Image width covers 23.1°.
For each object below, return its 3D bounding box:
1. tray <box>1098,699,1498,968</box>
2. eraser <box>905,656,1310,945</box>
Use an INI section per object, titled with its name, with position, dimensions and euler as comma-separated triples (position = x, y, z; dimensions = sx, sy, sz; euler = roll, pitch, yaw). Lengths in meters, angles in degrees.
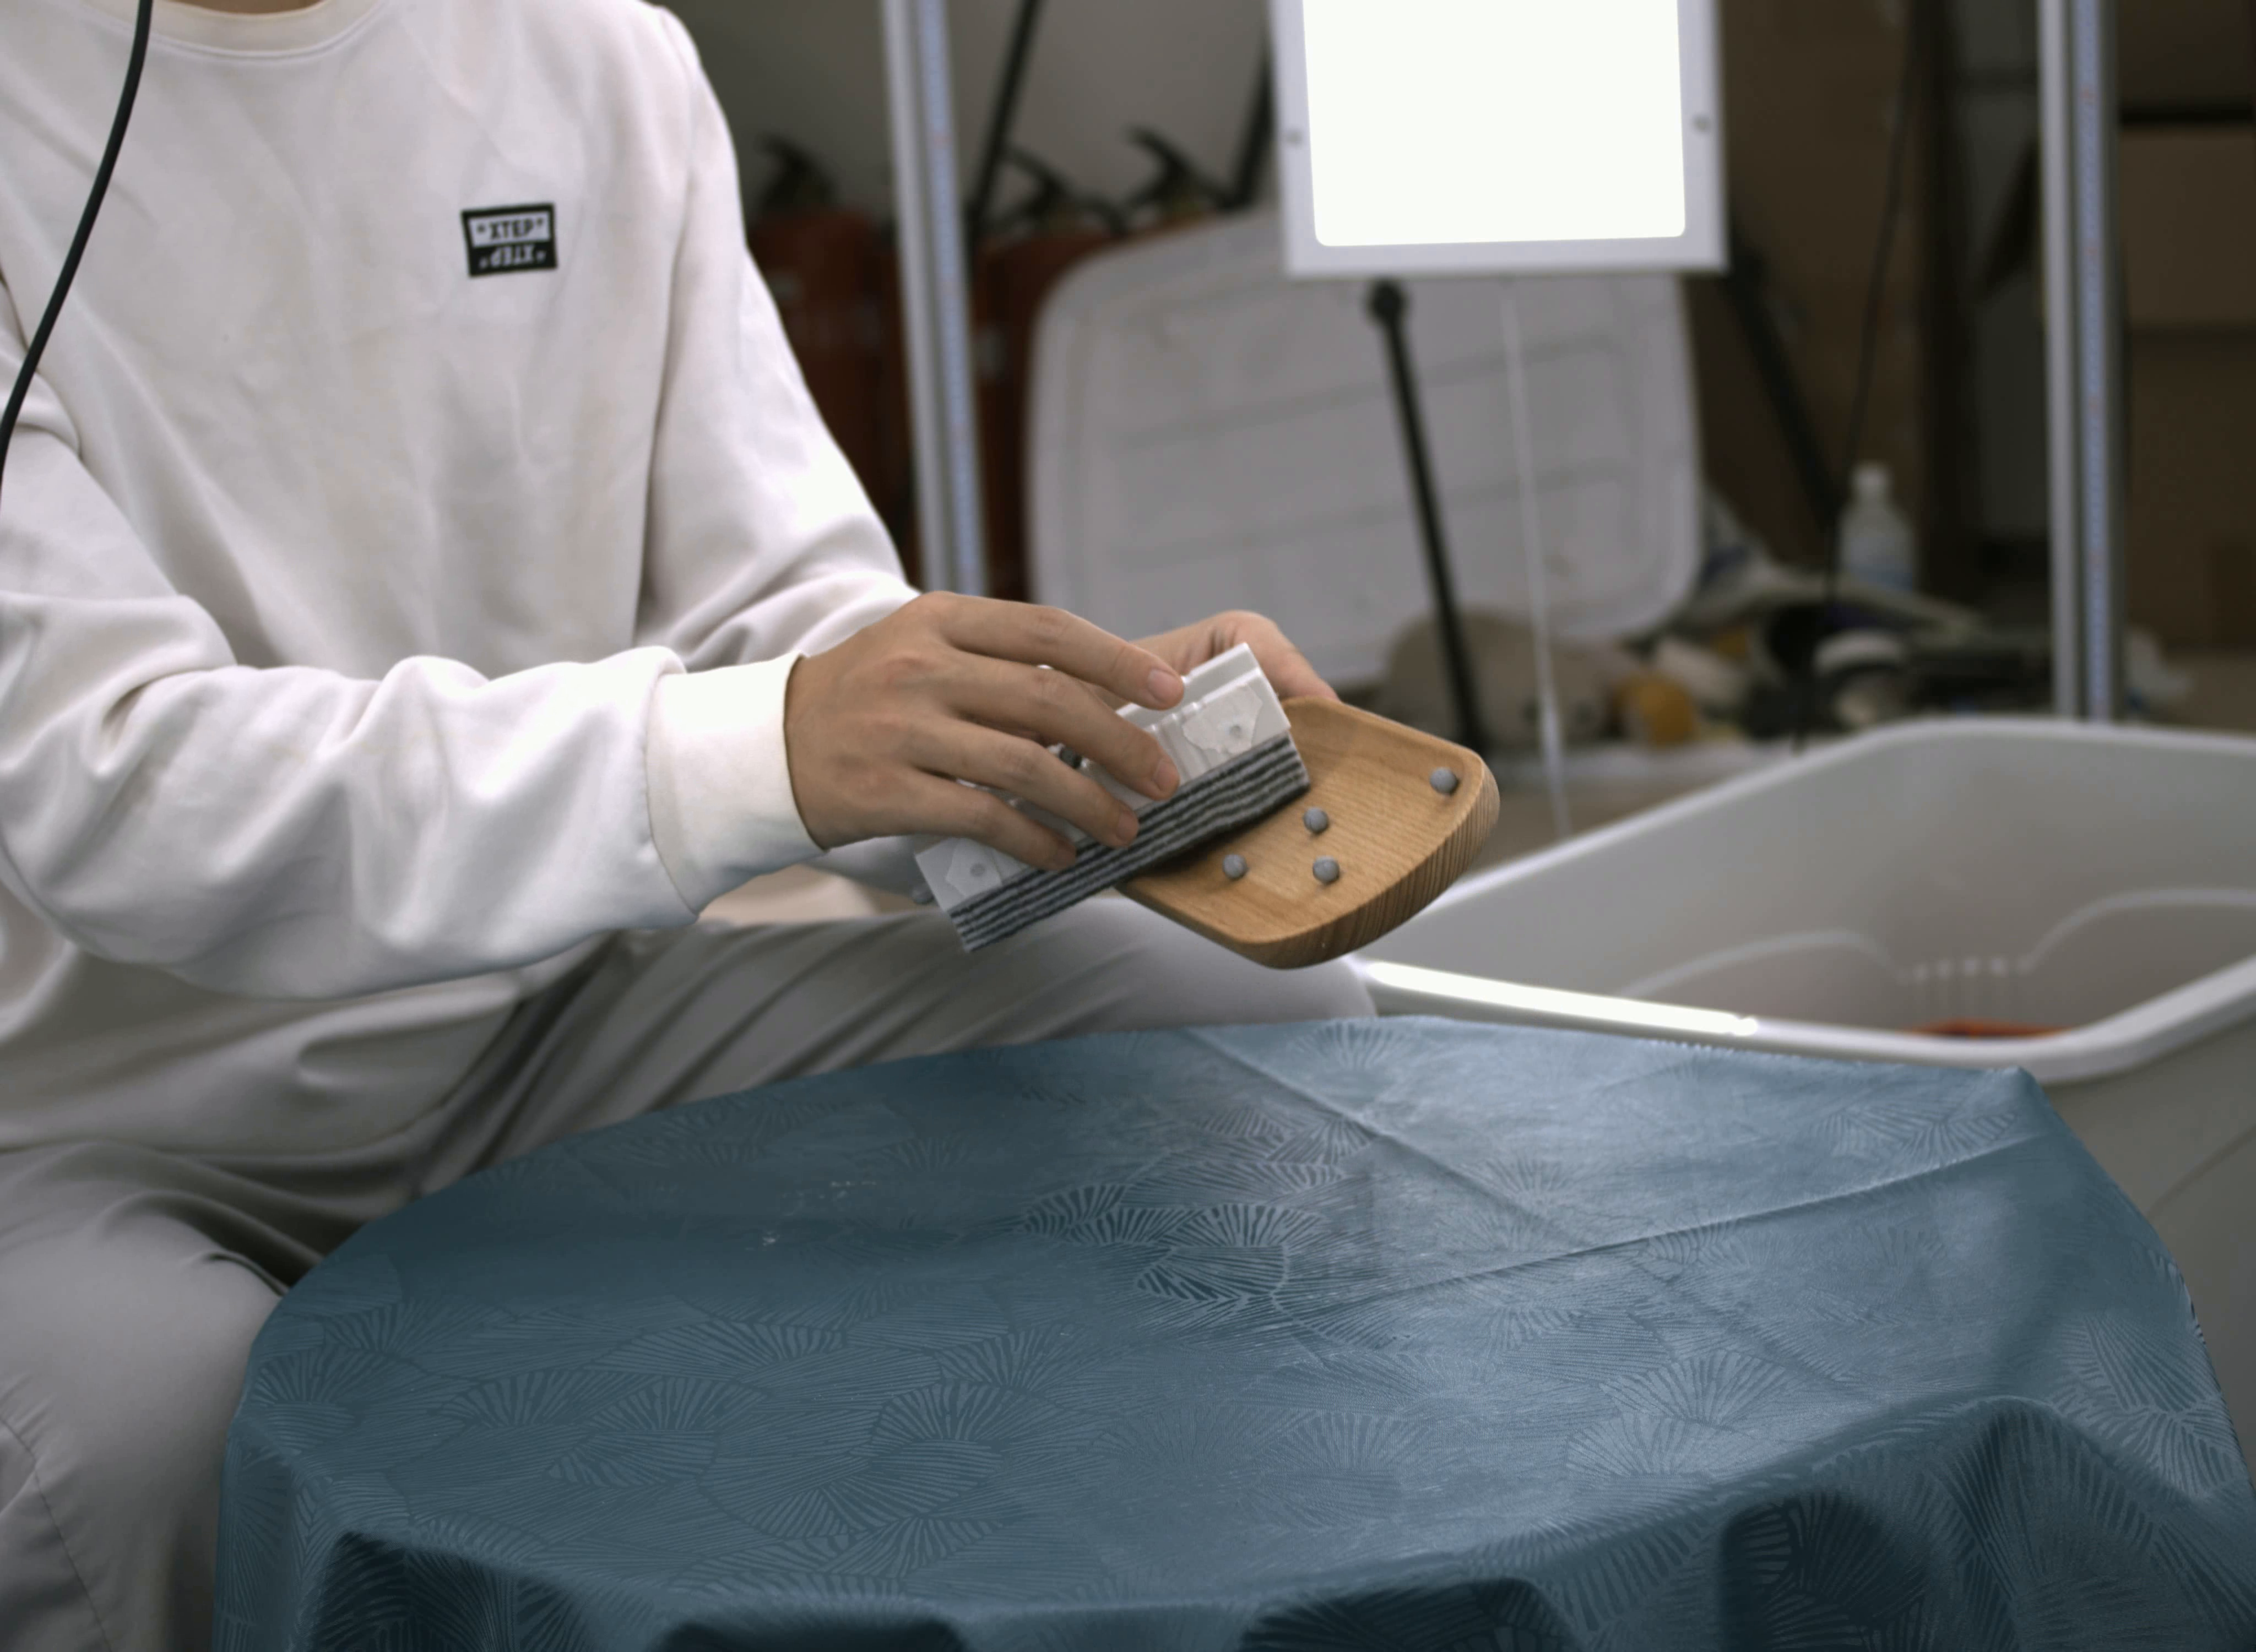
[tray]
position = 0.055, 0.002, 1.842
dimensions = 0.101, 0.020, 0.234
euler = -38, 17, -10
[eraser]
position = -0.006, -0.009, 1.886
dimensions = 0.134, 0.046, 0.050
euler = -26, 10, 1
